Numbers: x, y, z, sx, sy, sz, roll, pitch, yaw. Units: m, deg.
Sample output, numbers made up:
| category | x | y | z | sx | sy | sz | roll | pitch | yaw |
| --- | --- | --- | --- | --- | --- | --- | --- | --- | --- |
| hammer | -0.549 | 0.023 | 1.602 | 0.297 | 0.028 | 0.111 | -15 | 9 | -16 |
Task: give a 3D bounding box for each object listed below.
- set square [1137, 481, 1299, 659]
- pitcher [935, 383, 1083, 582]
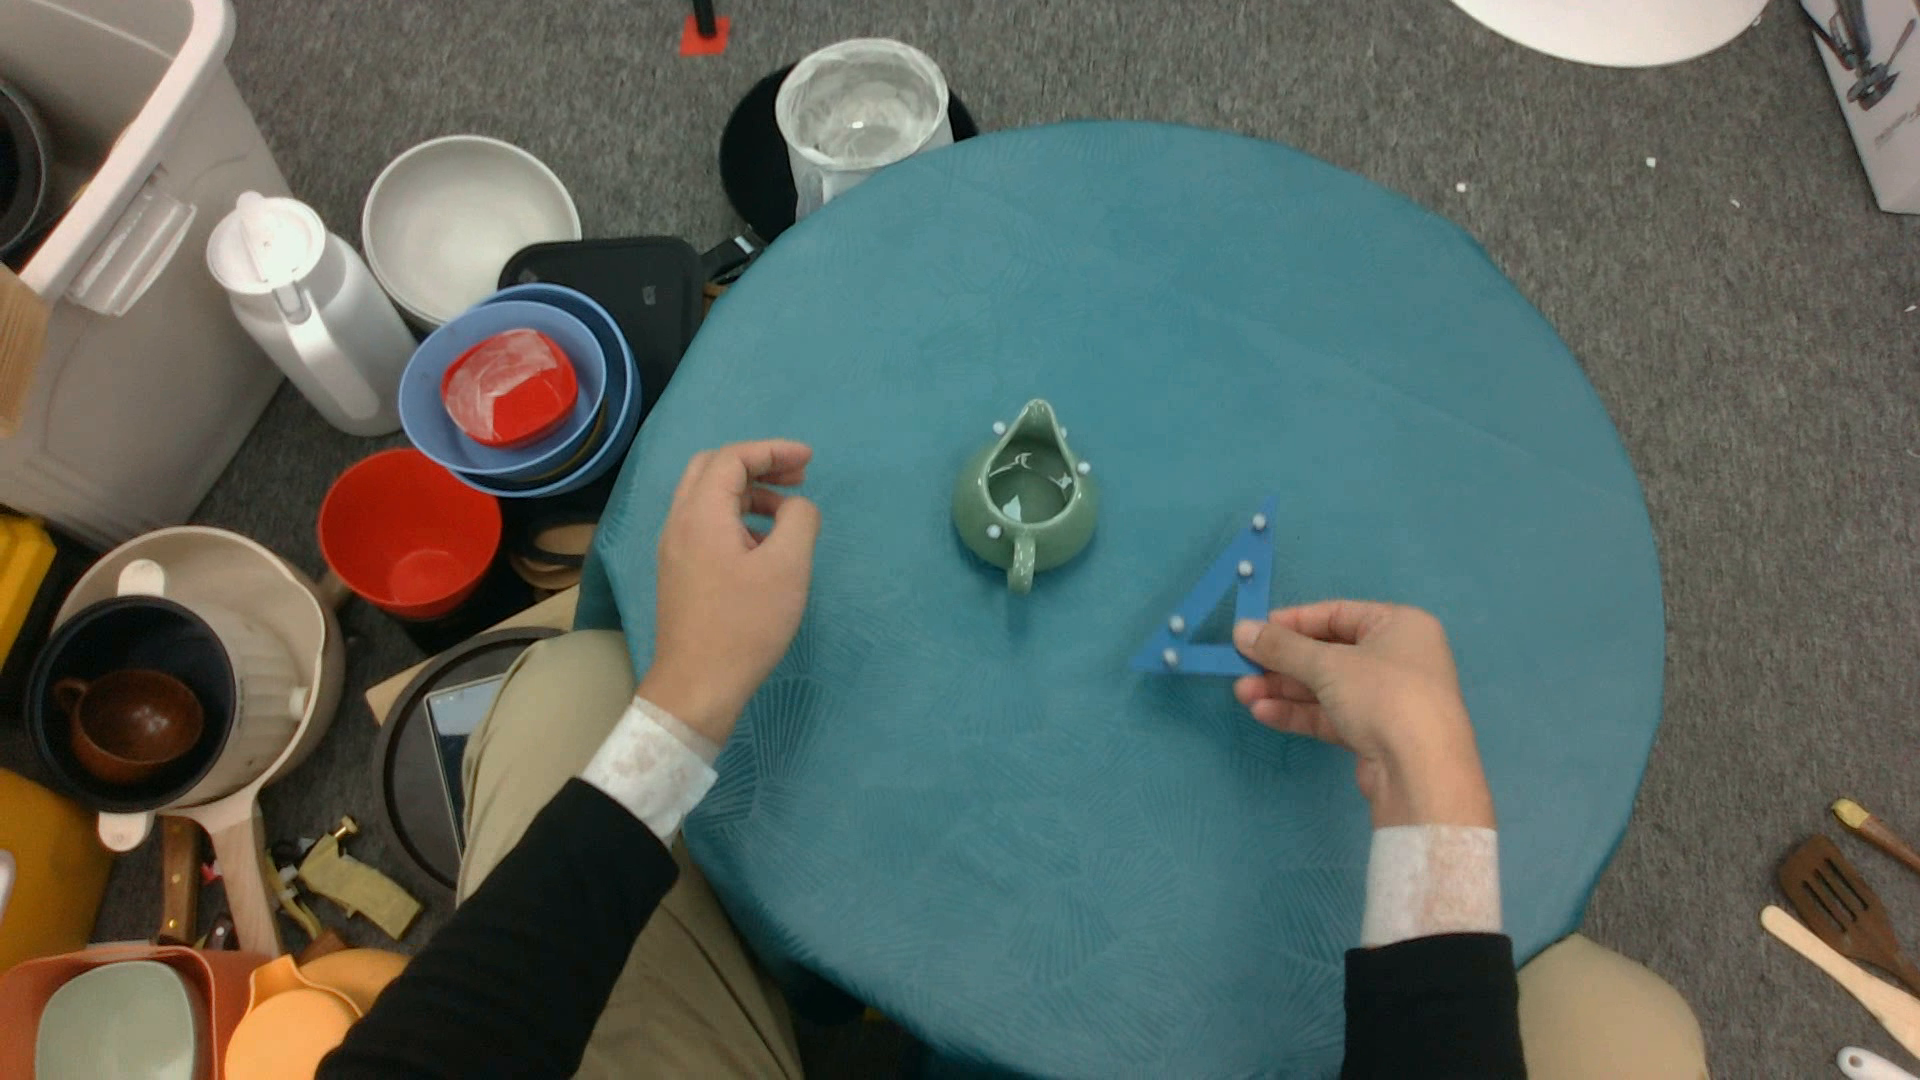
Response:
| category | x | y | z | sx | sy | sz | roll | pitch | yaw |
| --- | --- | --- | --- | --- | --- | --- | --- | --- | --- |
| set square | 0.157 | 0.022 | 0.737 | 0.061 | 0.006 | 0.132 | 33 | 70 | 32 |
| pitcher | 0.028 | -0.026 | 0.769 | 0.084 | 0.056 | 0.113 | 4 | 69 | 1 |
